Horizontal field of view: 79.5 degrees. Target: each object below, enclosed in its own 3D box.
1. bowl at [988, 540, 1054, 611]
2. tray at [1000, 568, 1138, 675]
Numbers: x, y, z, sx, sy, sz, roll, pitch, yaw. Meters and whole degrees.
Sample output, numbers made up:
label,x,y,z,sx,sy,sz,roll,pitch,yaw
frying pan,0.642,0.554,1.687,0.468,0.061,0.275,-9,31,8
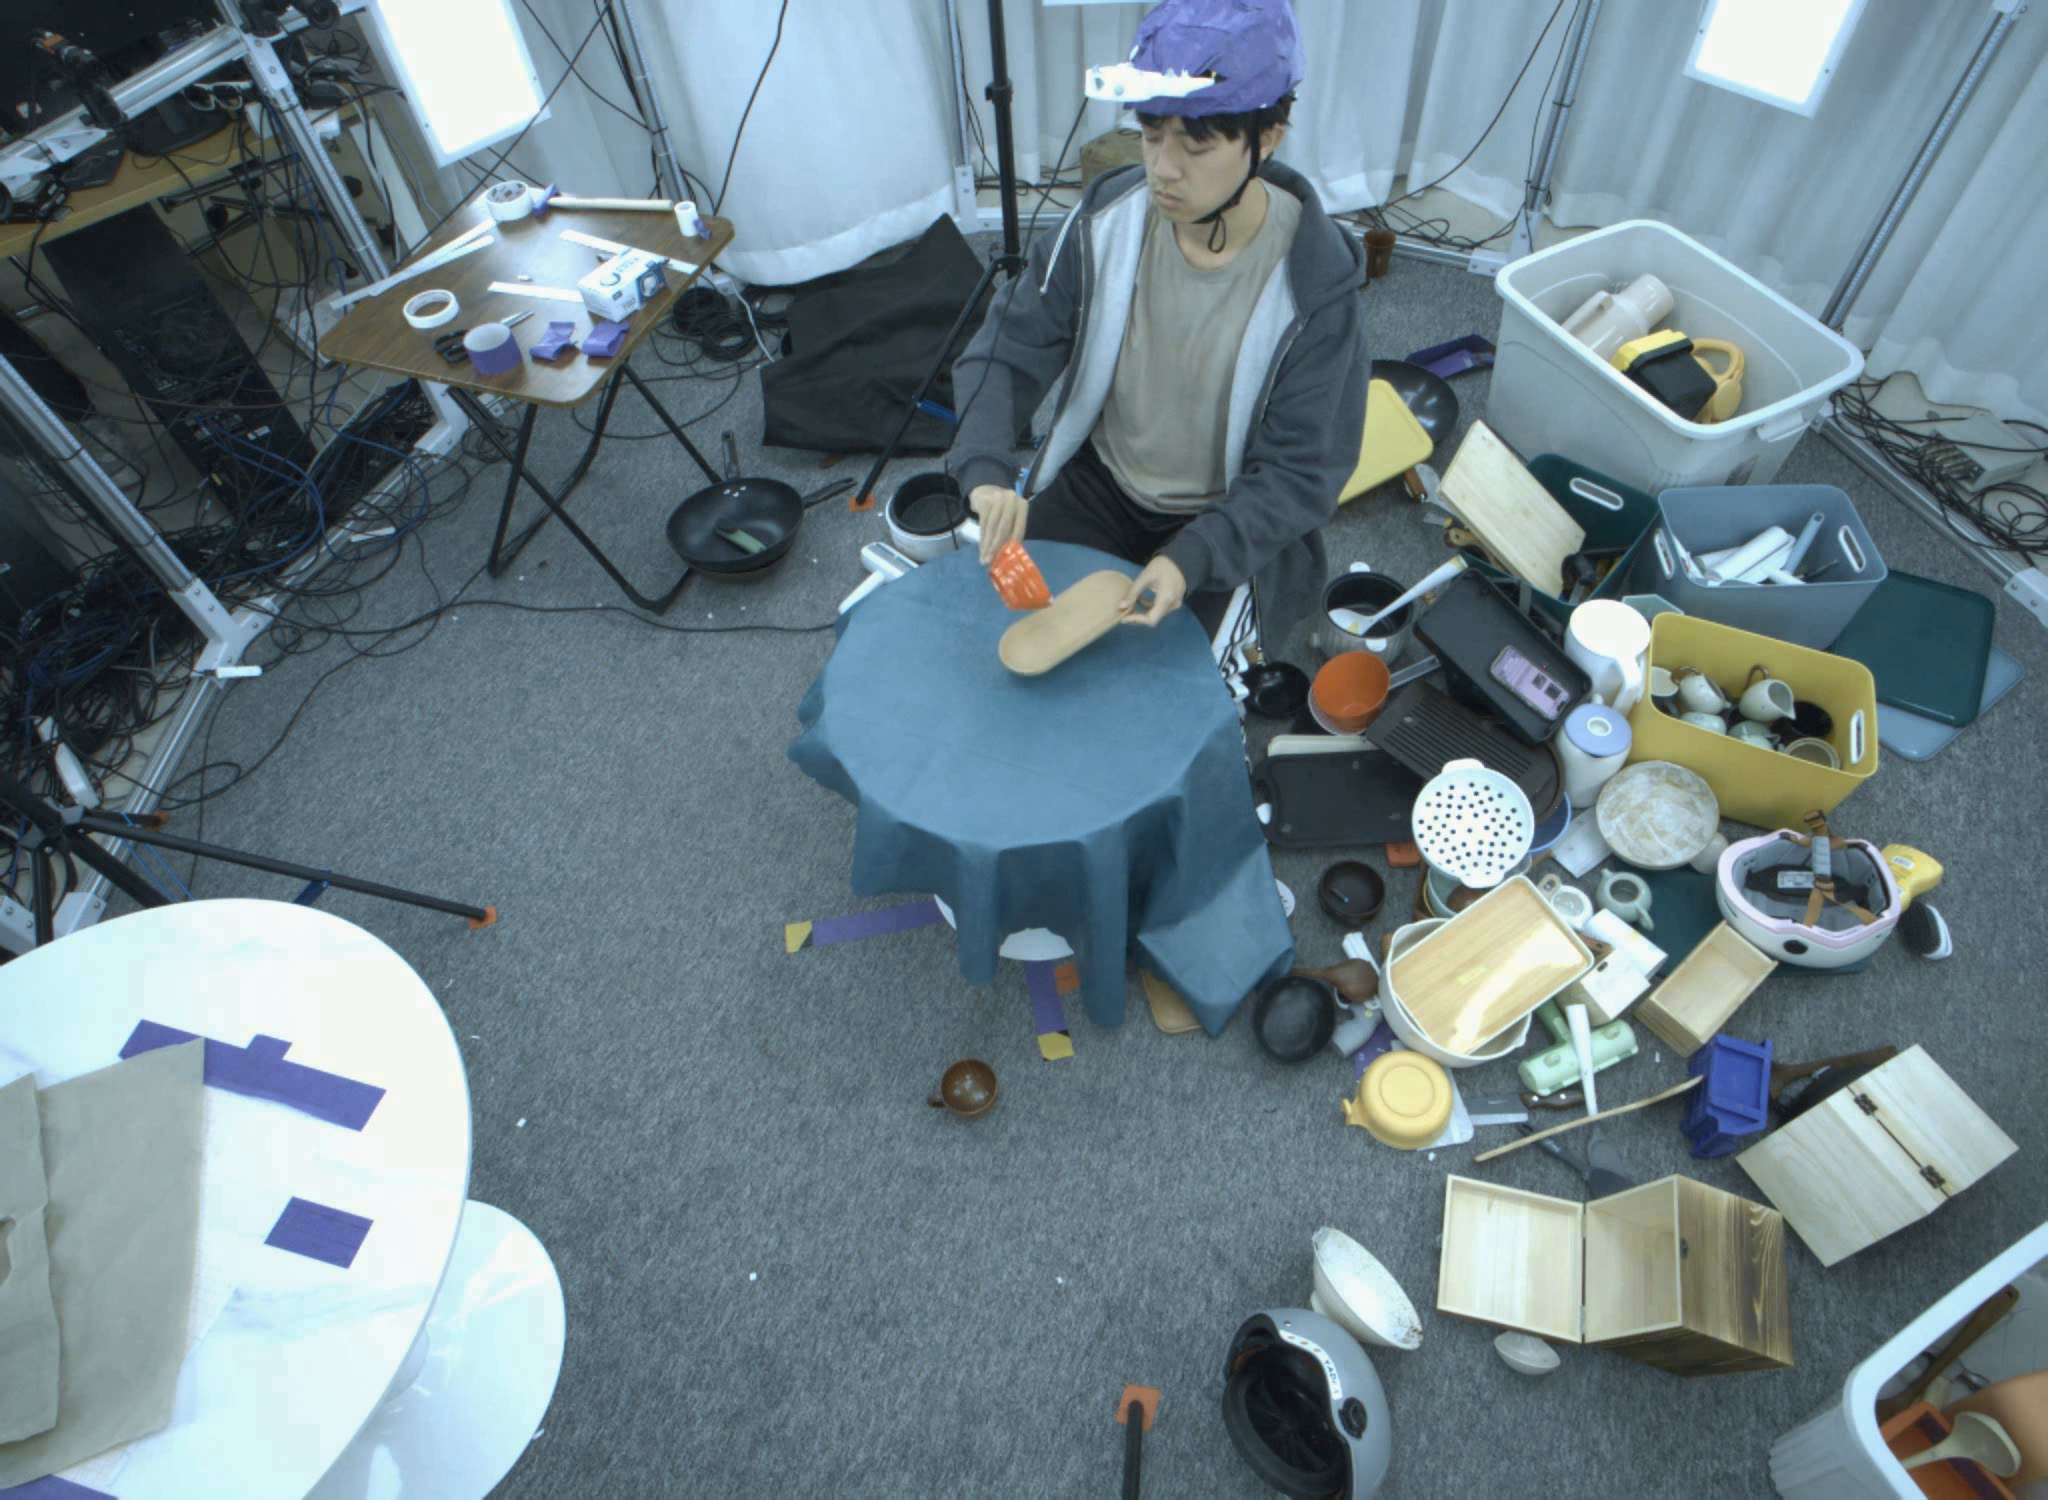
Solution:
label,x,y,z,sx,sy,sz,roll,pitch,yaw
bowl,-0.011,-0.239,1.740,0.051,0.121,0.116,-35,59,-5
tray,0.068,-0.194,1.849,0.232,0.020,0.100,-34,60,-8
